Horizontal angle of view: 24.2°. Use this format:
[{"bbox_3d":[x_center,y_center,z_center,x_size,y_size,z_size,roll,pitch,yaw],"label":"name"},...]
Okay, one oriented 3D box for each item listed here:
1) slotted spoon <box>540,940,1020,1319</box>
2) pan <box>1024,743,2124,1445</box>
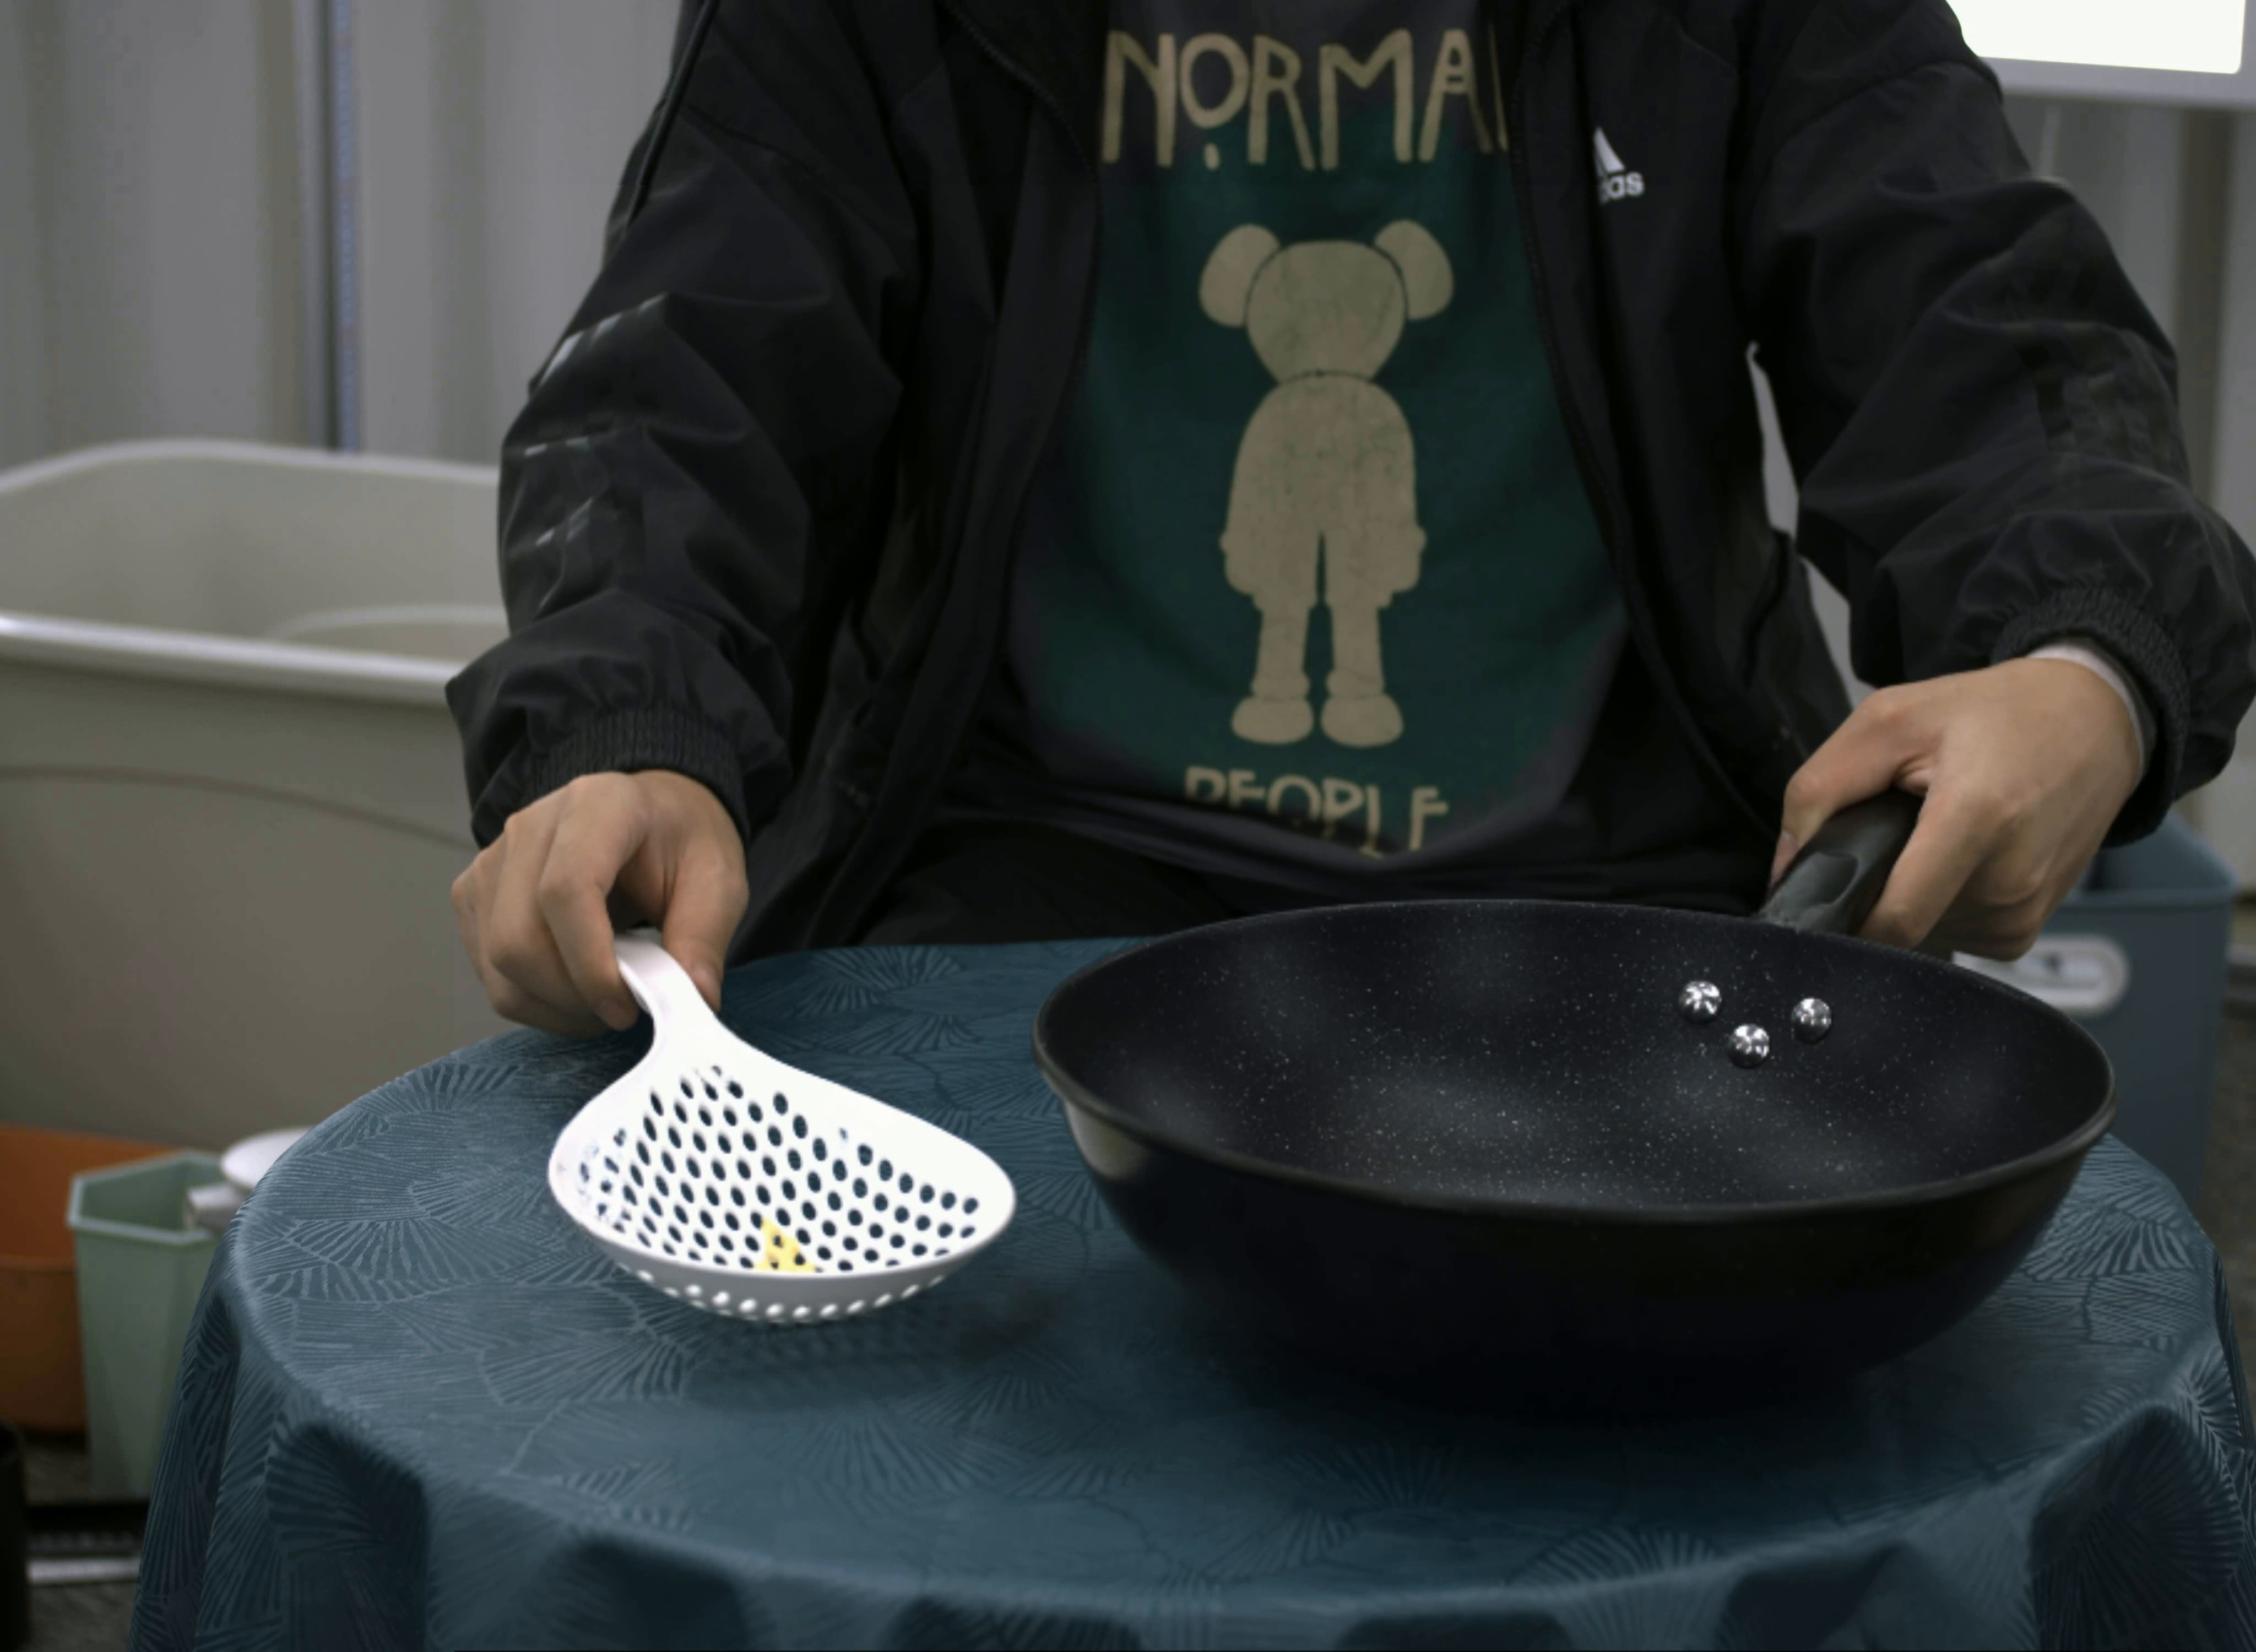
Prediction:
[{"bbox_3d":[-0.132,0.079,1.612,0.137,0.051,0.344,-3,22,-17],"label":"slotted spoon"},{"bbox_3d":[0.163,0.076,1.565,0.307,0.112,0.478,11,17,25],"label":"pan"}]
